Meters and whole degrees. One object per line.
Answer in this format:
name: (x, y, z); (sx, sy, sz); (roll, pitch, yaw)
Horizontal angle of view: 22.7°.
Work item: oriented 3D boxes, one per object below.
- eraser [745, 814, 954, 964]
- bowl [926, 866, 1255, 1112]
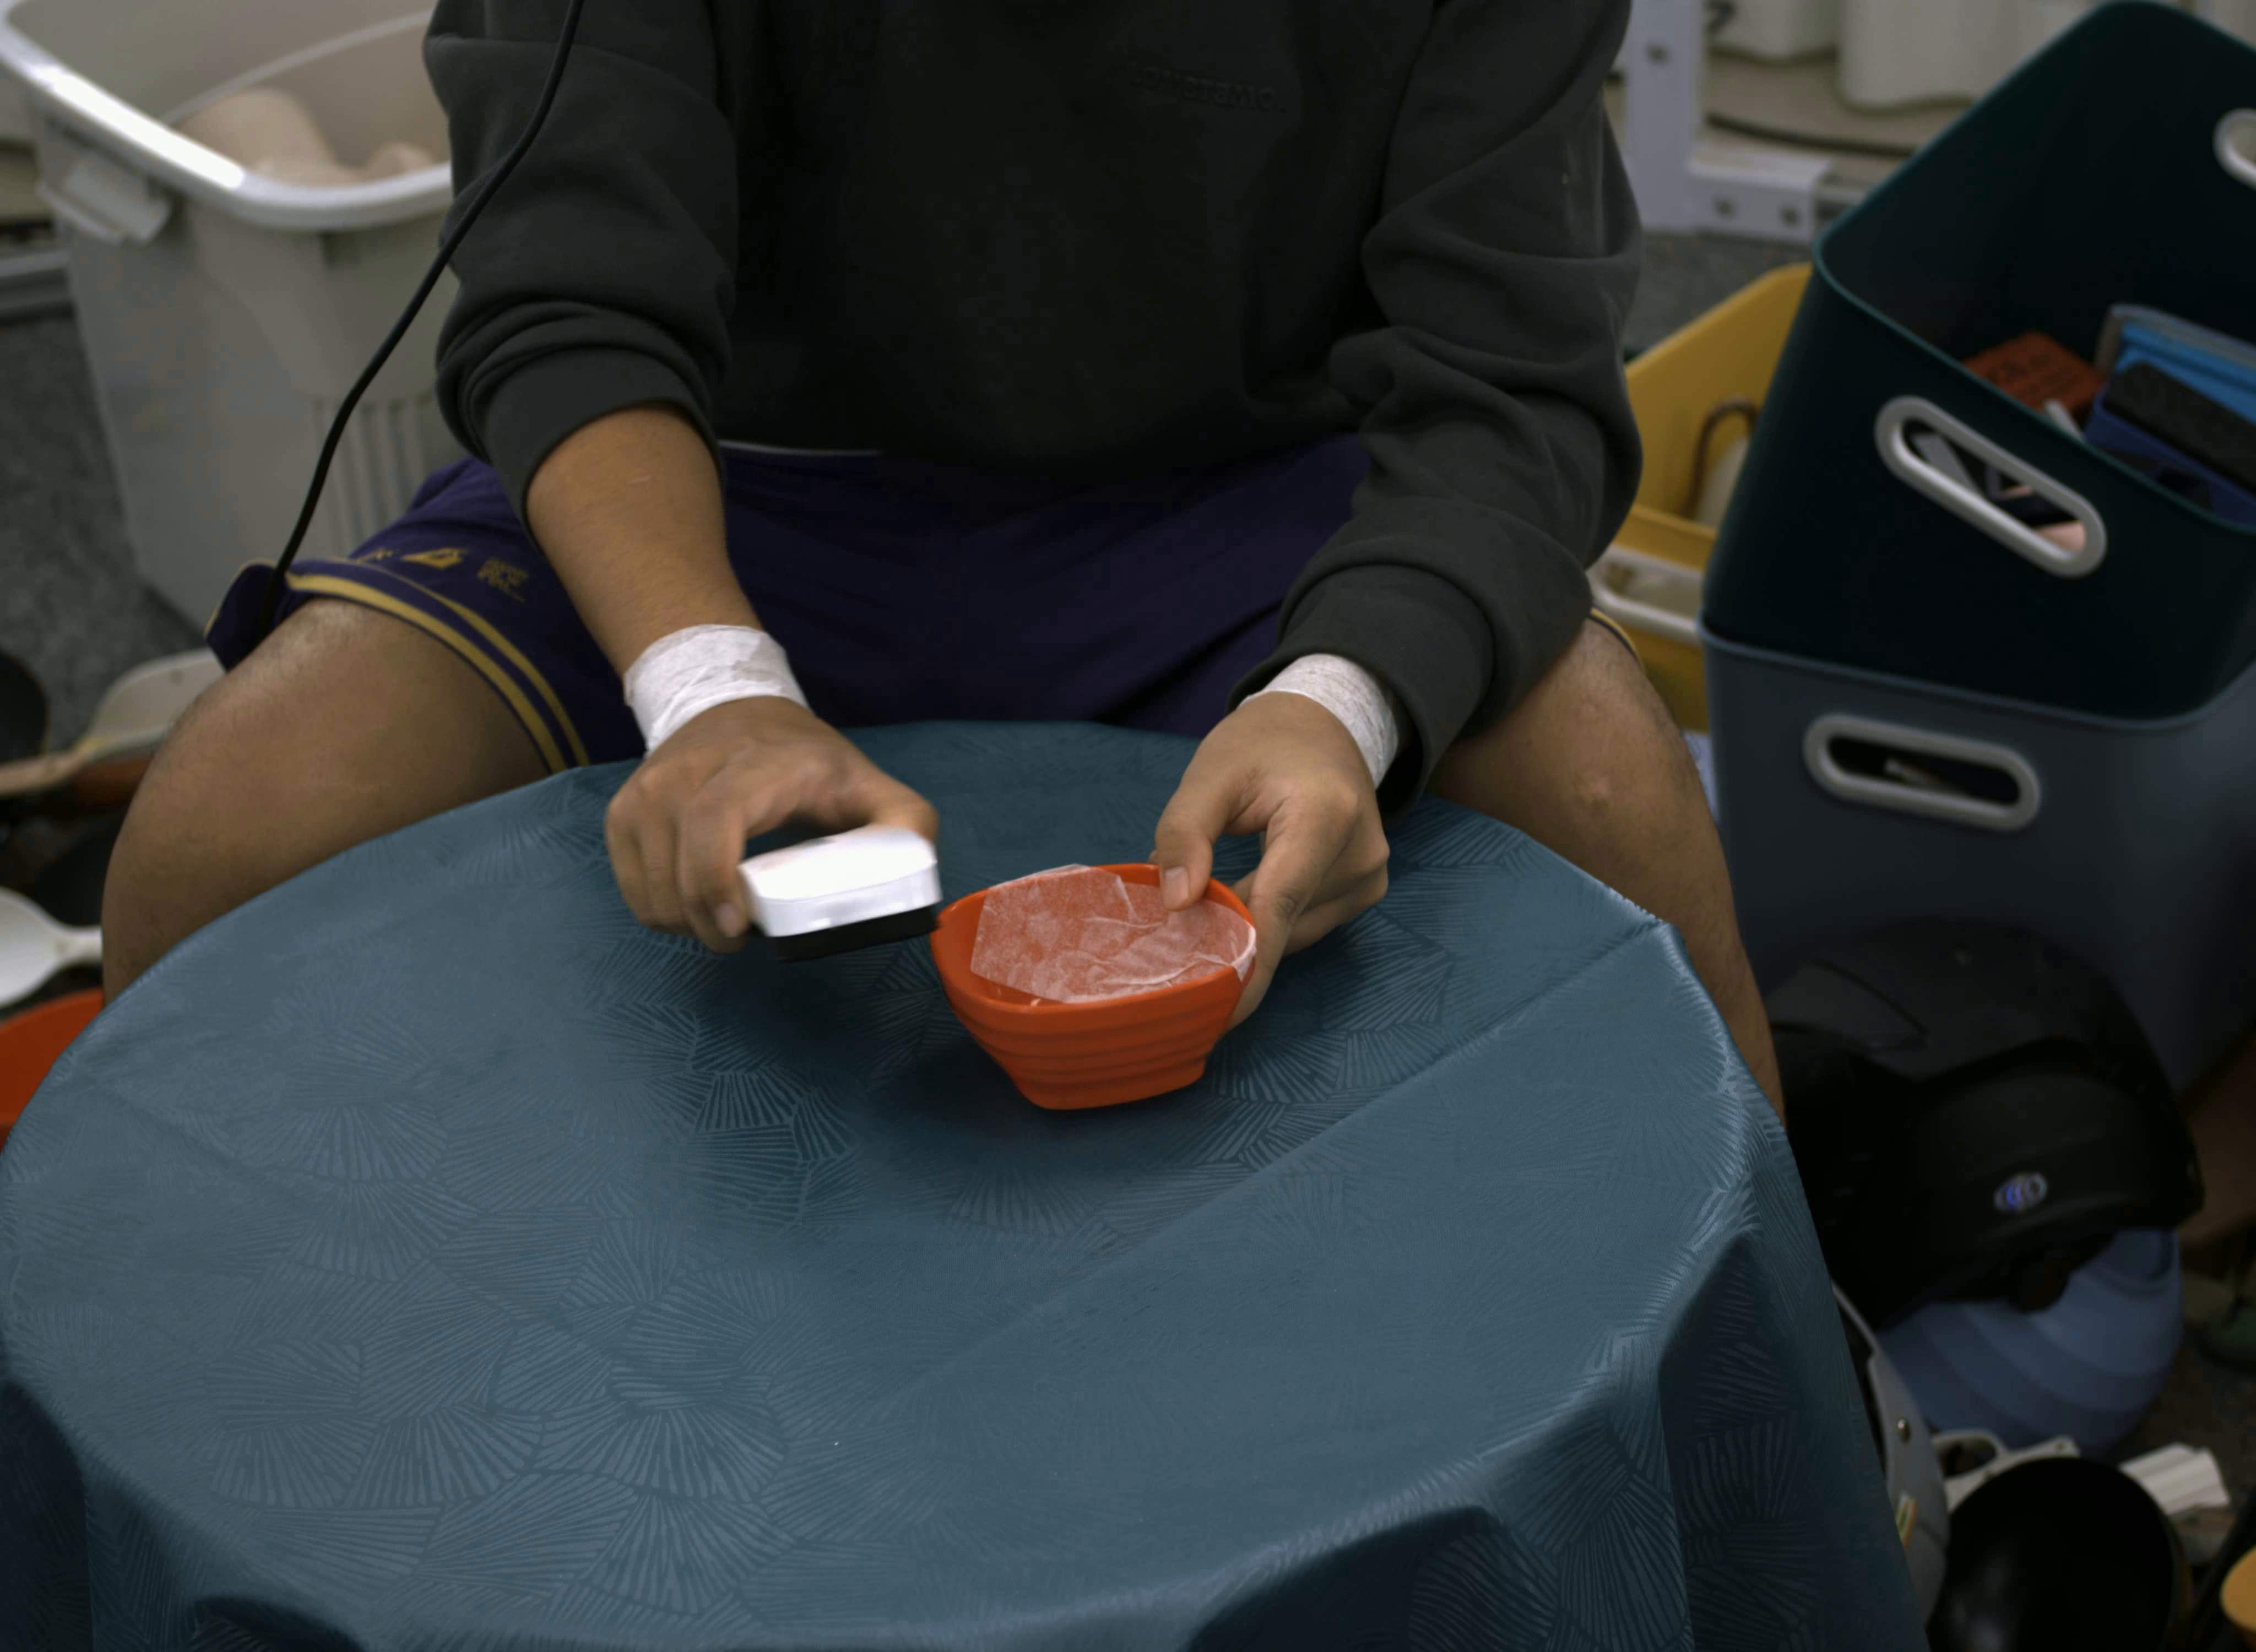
eraser: (-0.094, 0.020, 1.916); (0.063, 0.034, 0.131); (-10, 8, -8)
bowl: (-0.011, 0.059, 1.924); (0.118, 0.051, 0.120); (-5, 22, 2)
